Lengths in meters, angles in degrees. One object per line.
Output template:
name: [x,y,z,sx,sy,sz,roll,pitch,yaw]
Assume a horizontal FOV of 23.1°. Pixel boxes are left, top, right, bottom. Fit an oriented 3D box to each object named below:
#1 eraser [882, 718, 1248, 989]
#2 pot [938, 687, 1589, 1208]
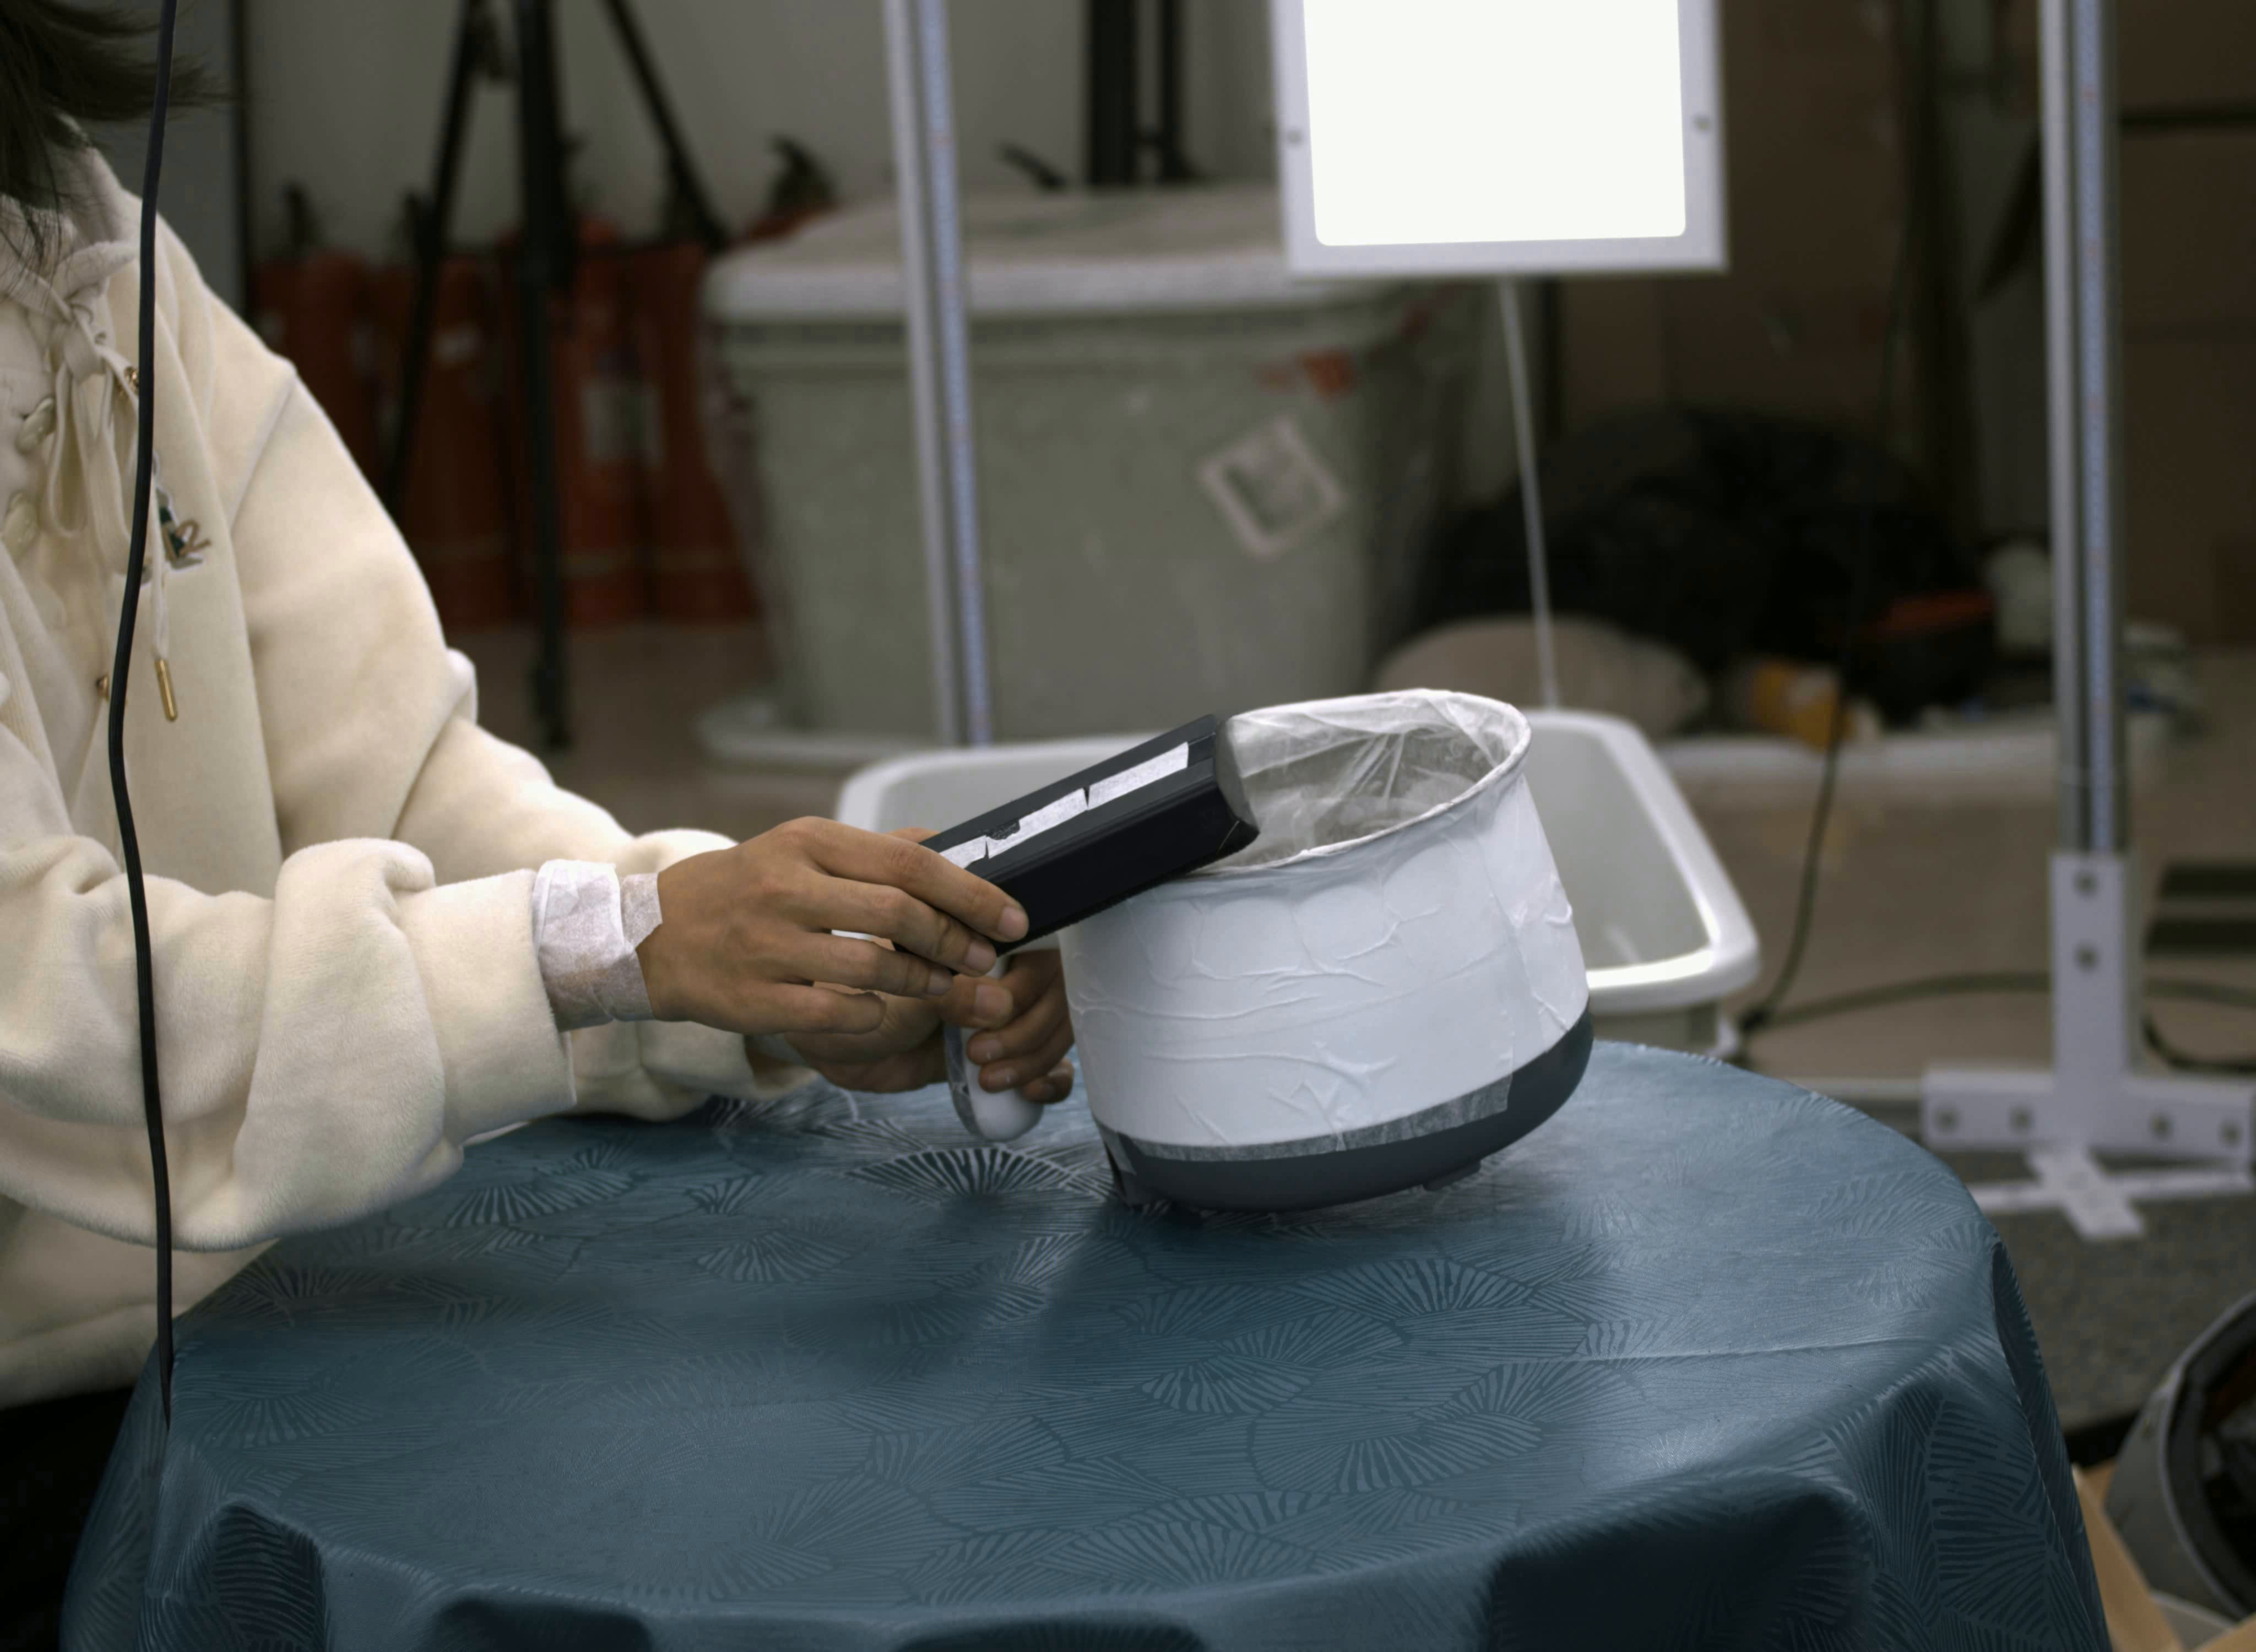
eraser: [-0.020,0.008,1.806,0.126,0.030,0.053,-25,25,14]
pot: [0.039,0.045,1.888,0.237,0.137,0.176,-7,18,22]
